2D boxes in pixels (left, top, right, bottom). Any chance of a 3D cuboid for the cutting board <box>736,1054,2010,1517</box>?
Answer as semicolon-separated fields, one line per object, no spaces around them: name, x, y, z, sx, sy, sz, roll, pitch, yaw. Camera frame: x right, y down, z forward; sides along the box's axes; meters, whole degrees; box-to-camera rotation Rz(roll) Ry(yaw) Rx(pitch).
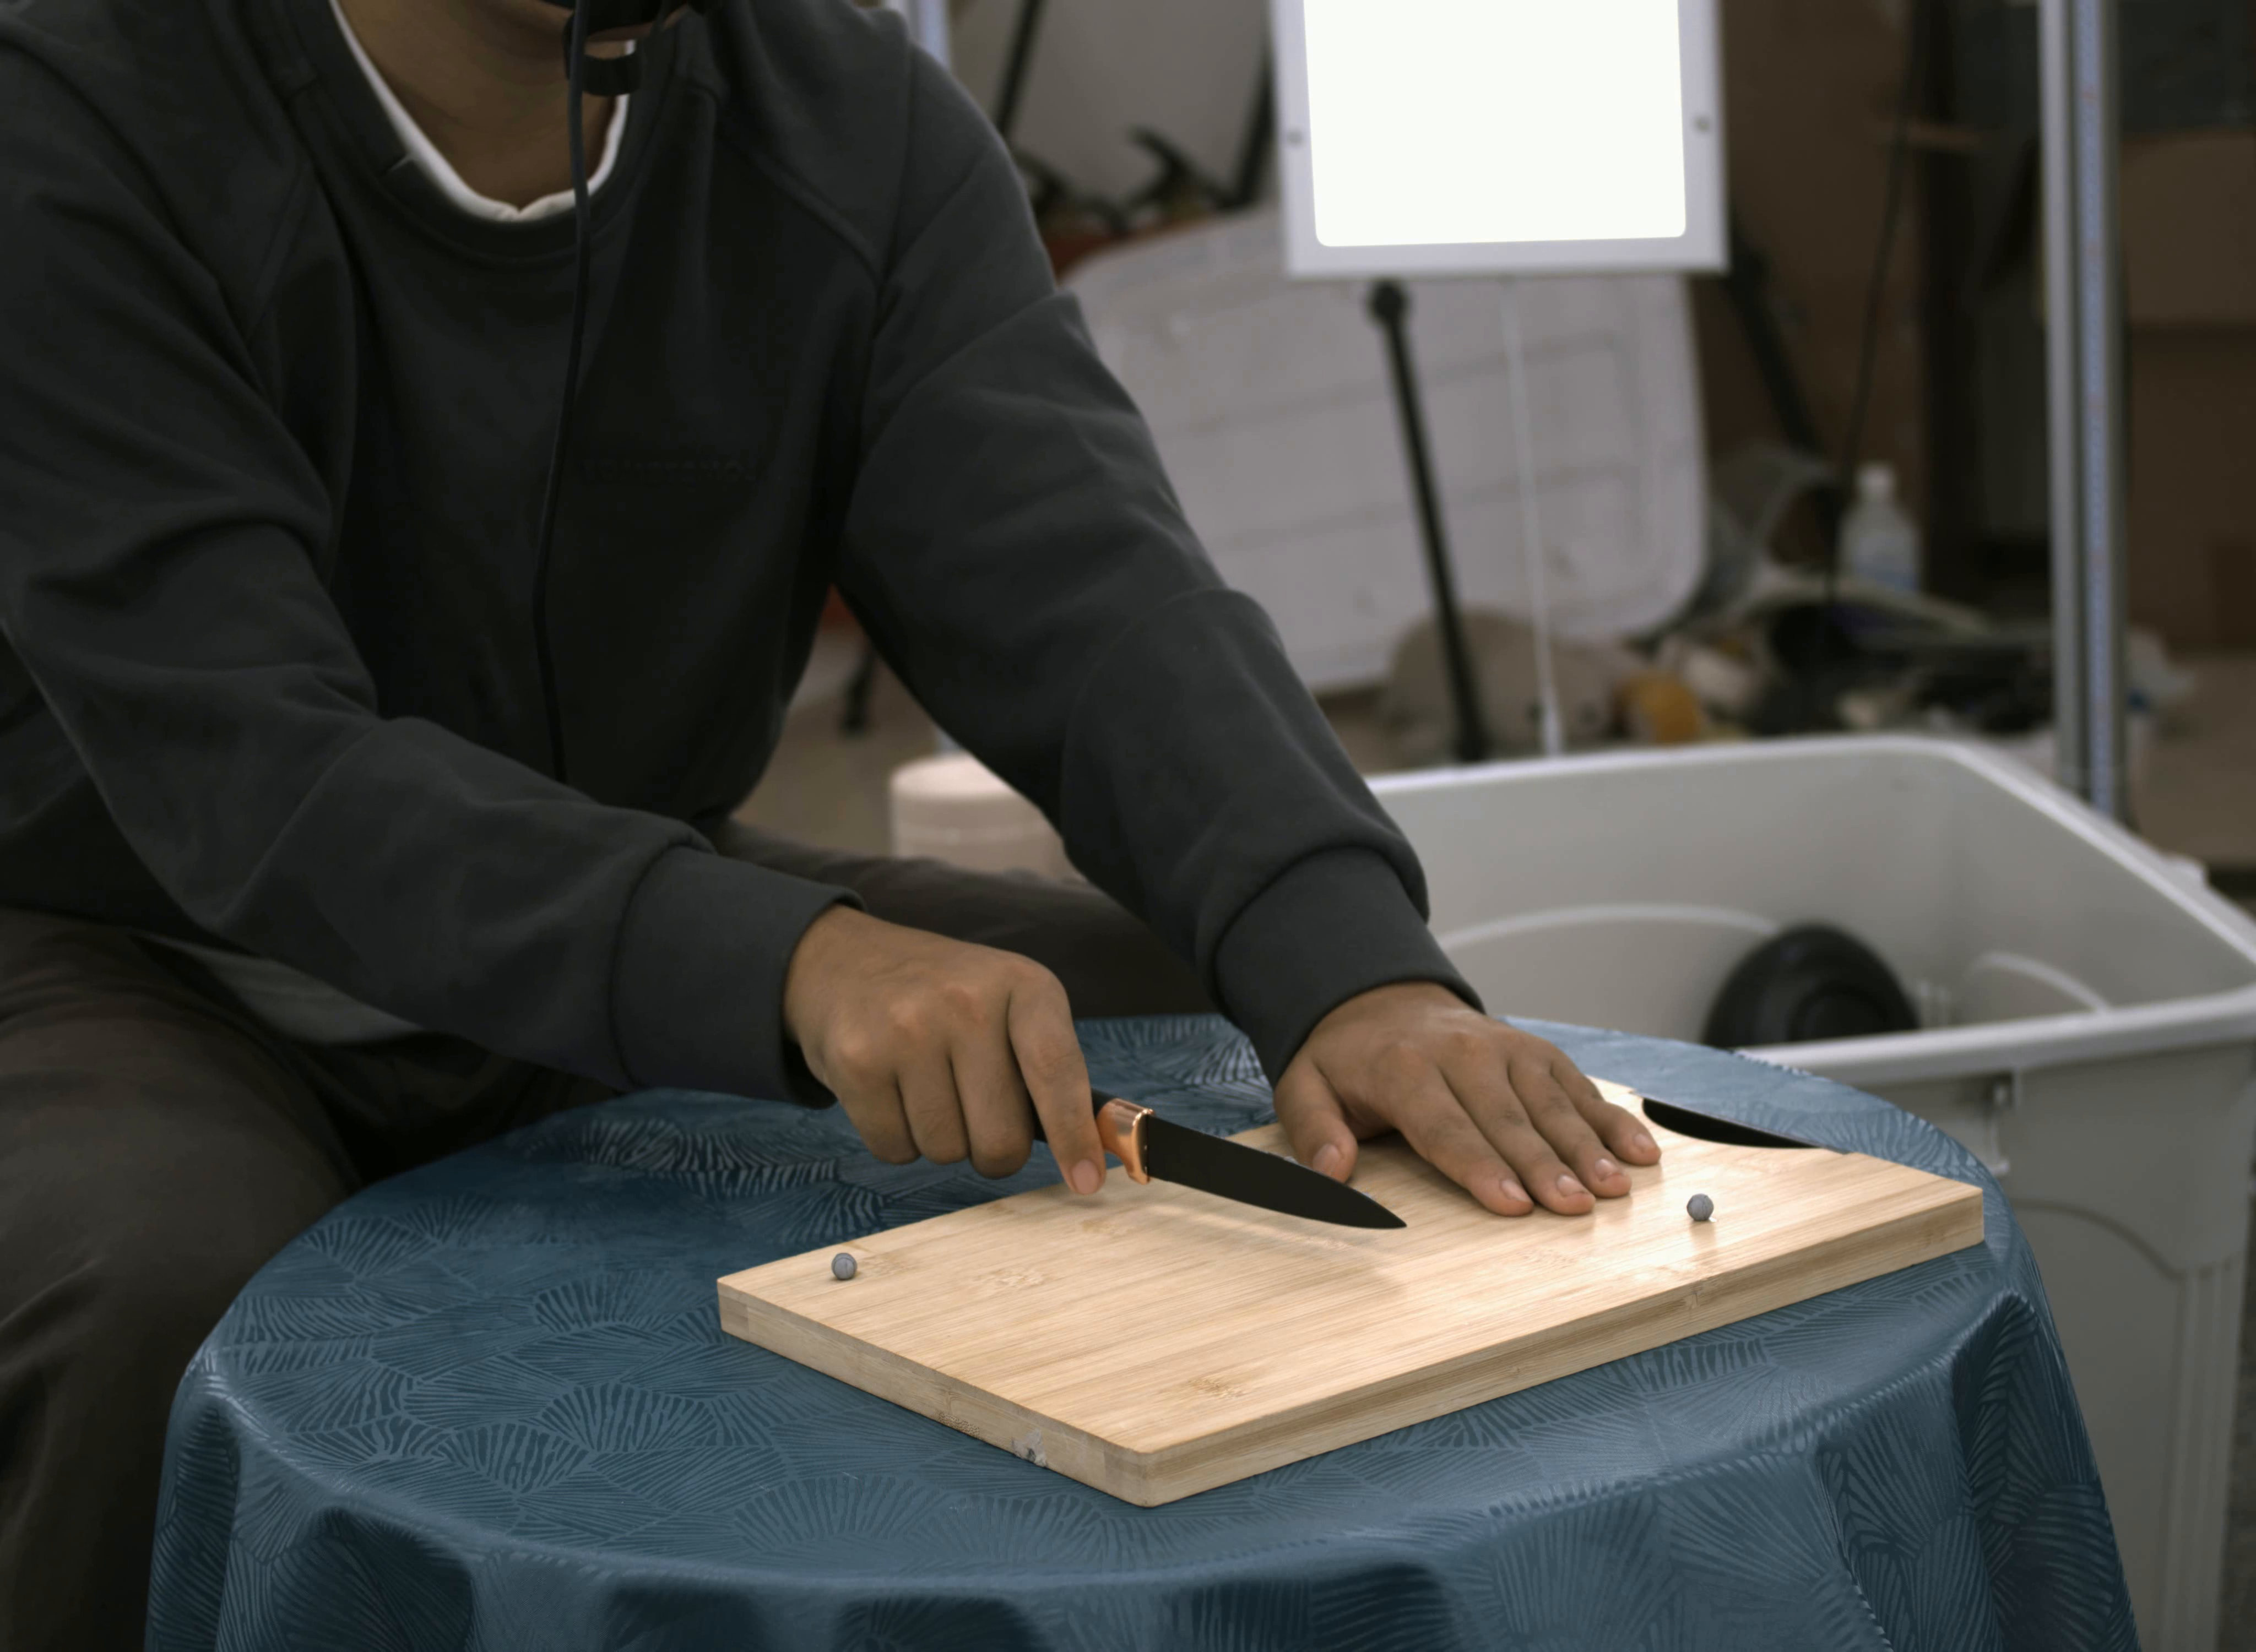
cutting board;0.078;0.140;1.779;0.340;0.023;0.256;-14;16;-33

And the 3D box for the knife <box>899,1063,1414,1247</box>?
knife;0.008;0.109;1.817;0.230;0.026;0.017;14;24;41
